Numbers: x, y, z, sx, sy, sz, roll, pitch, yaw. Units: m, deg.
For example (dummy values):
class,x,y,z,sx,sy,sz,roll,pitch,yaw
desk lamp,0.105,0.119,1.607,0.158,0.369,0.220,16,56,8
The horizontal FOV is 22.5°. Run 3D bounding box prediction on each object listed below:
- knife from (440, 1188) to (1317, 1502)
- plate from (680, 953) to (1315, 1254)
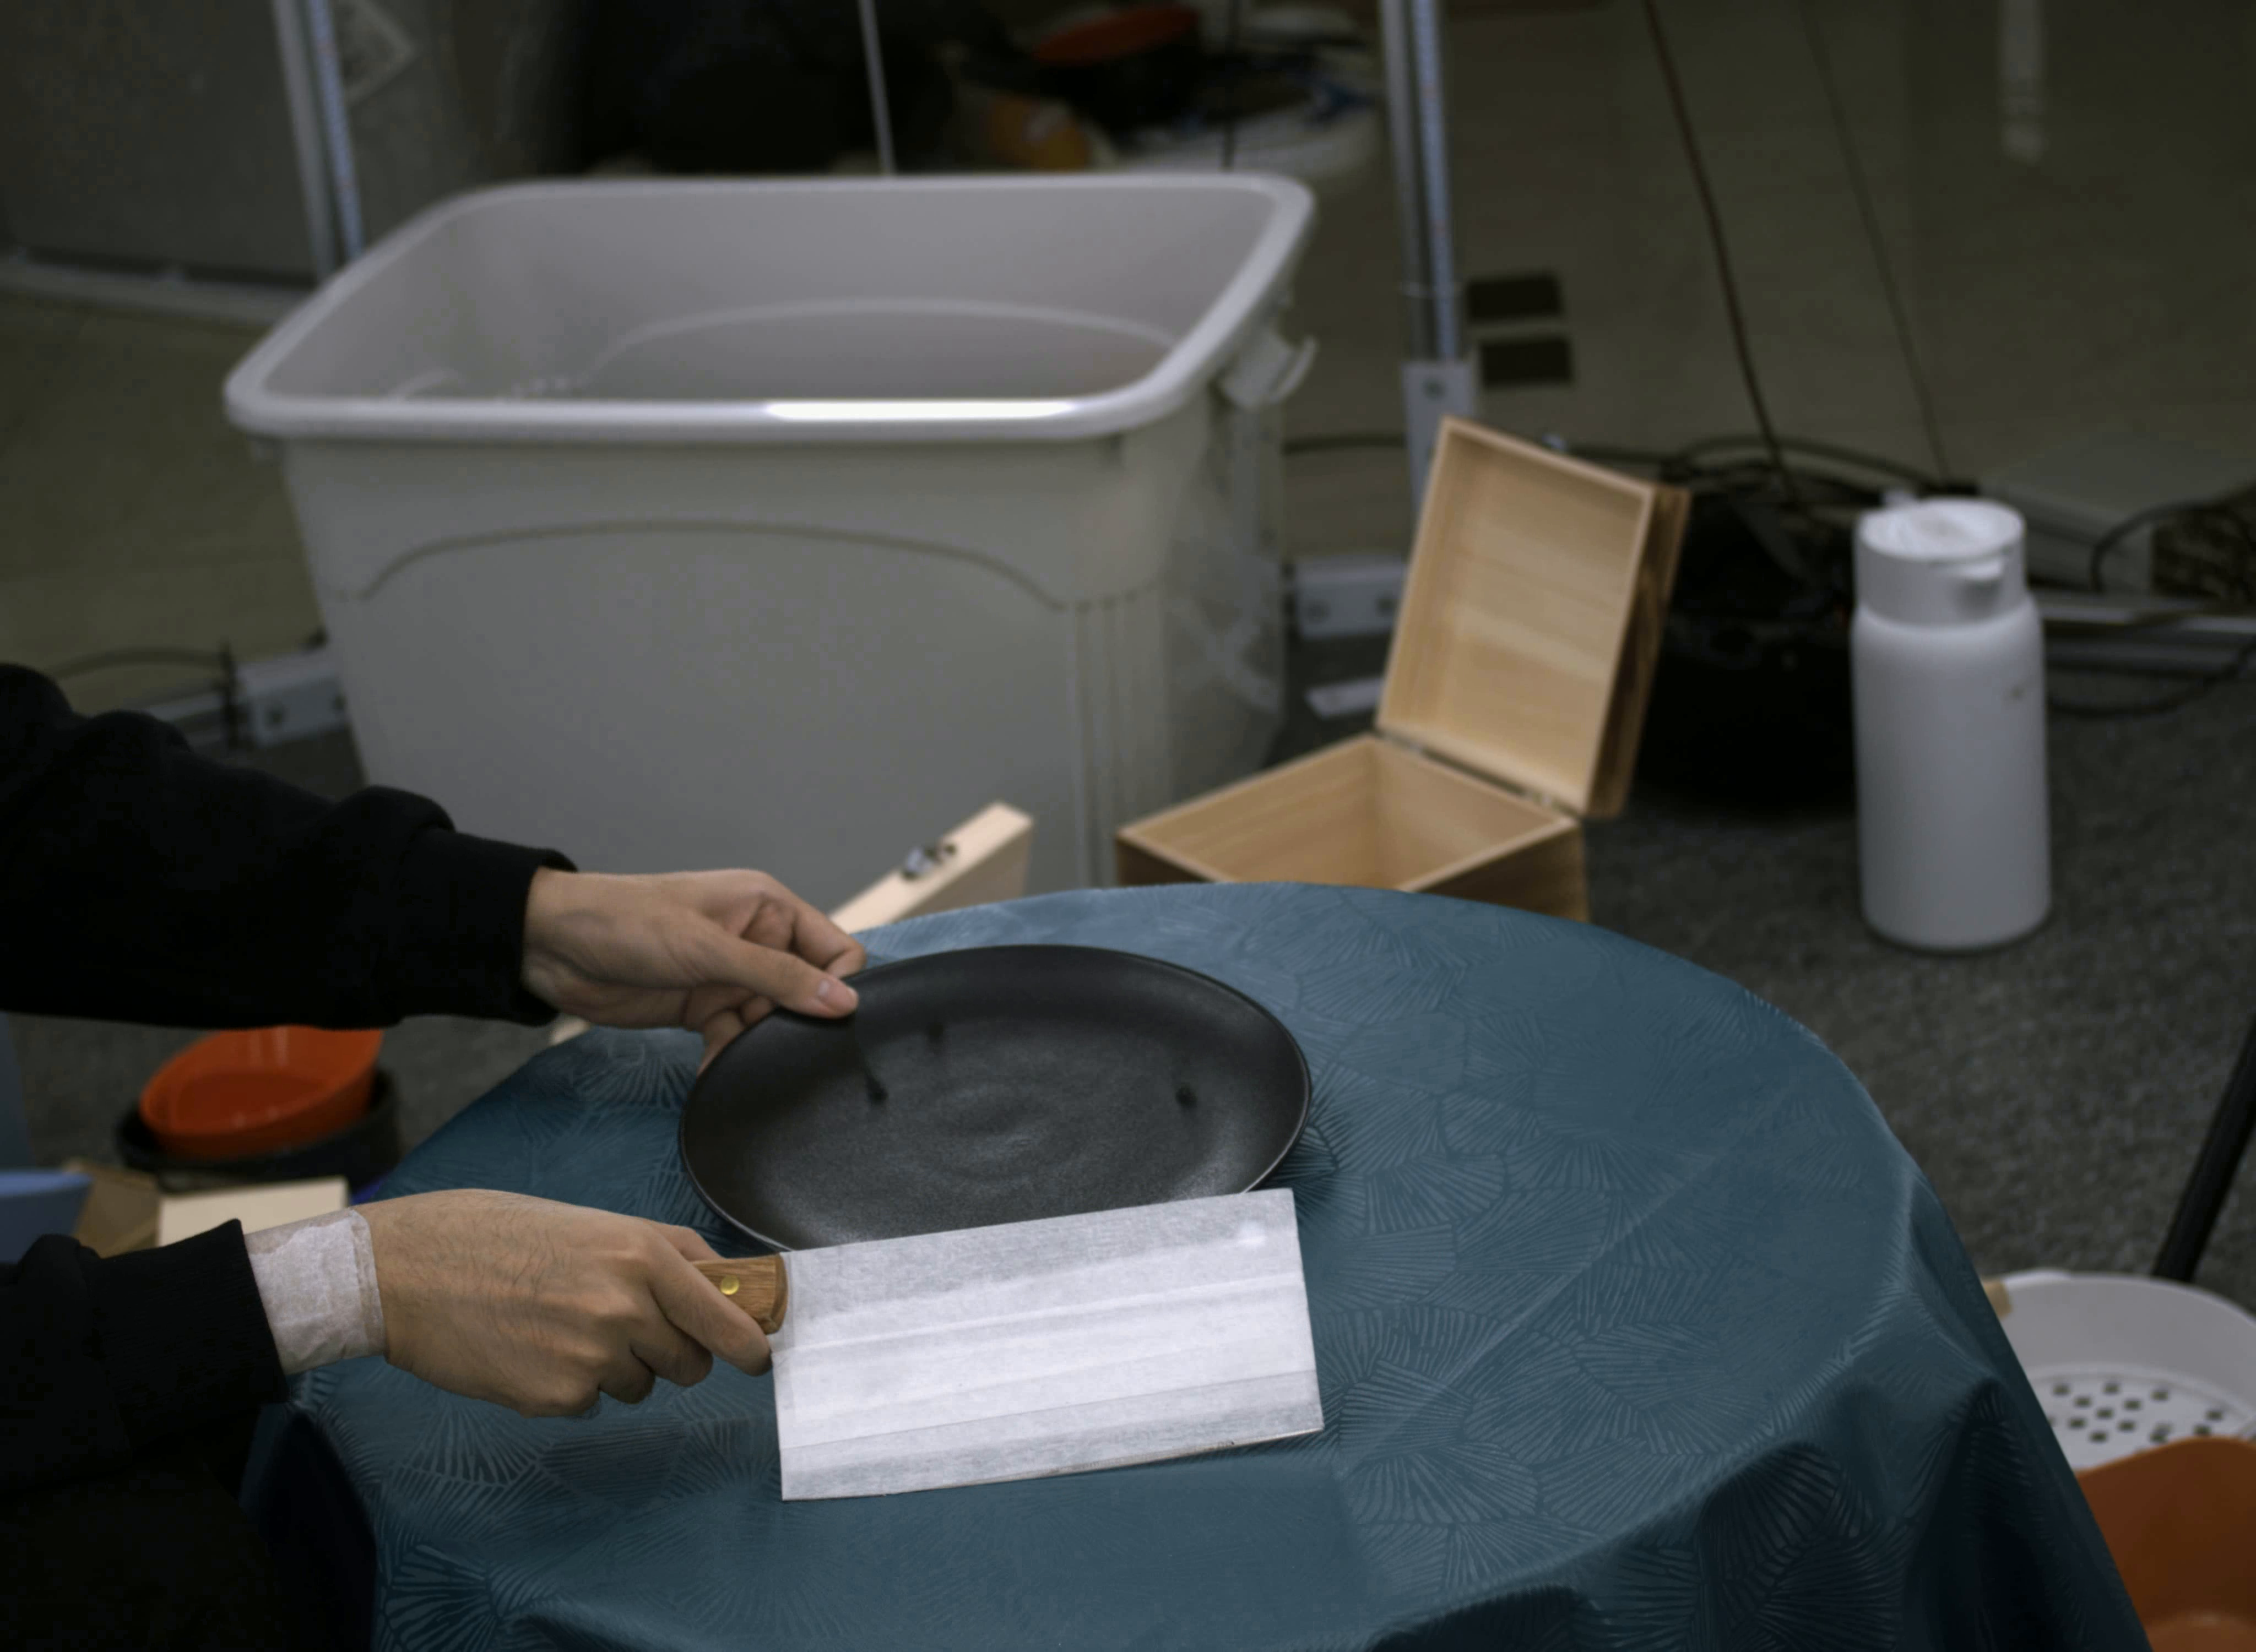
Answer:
class,x,y,z,sx,sy,sz,roll,pitch,yaw
knife,-0.087,0.187,1.984,0.305,0.021,0.092,-8,71,1
plate,-0.049,0.116,2.166,0.244,0.024,0.240,-4,28,2
